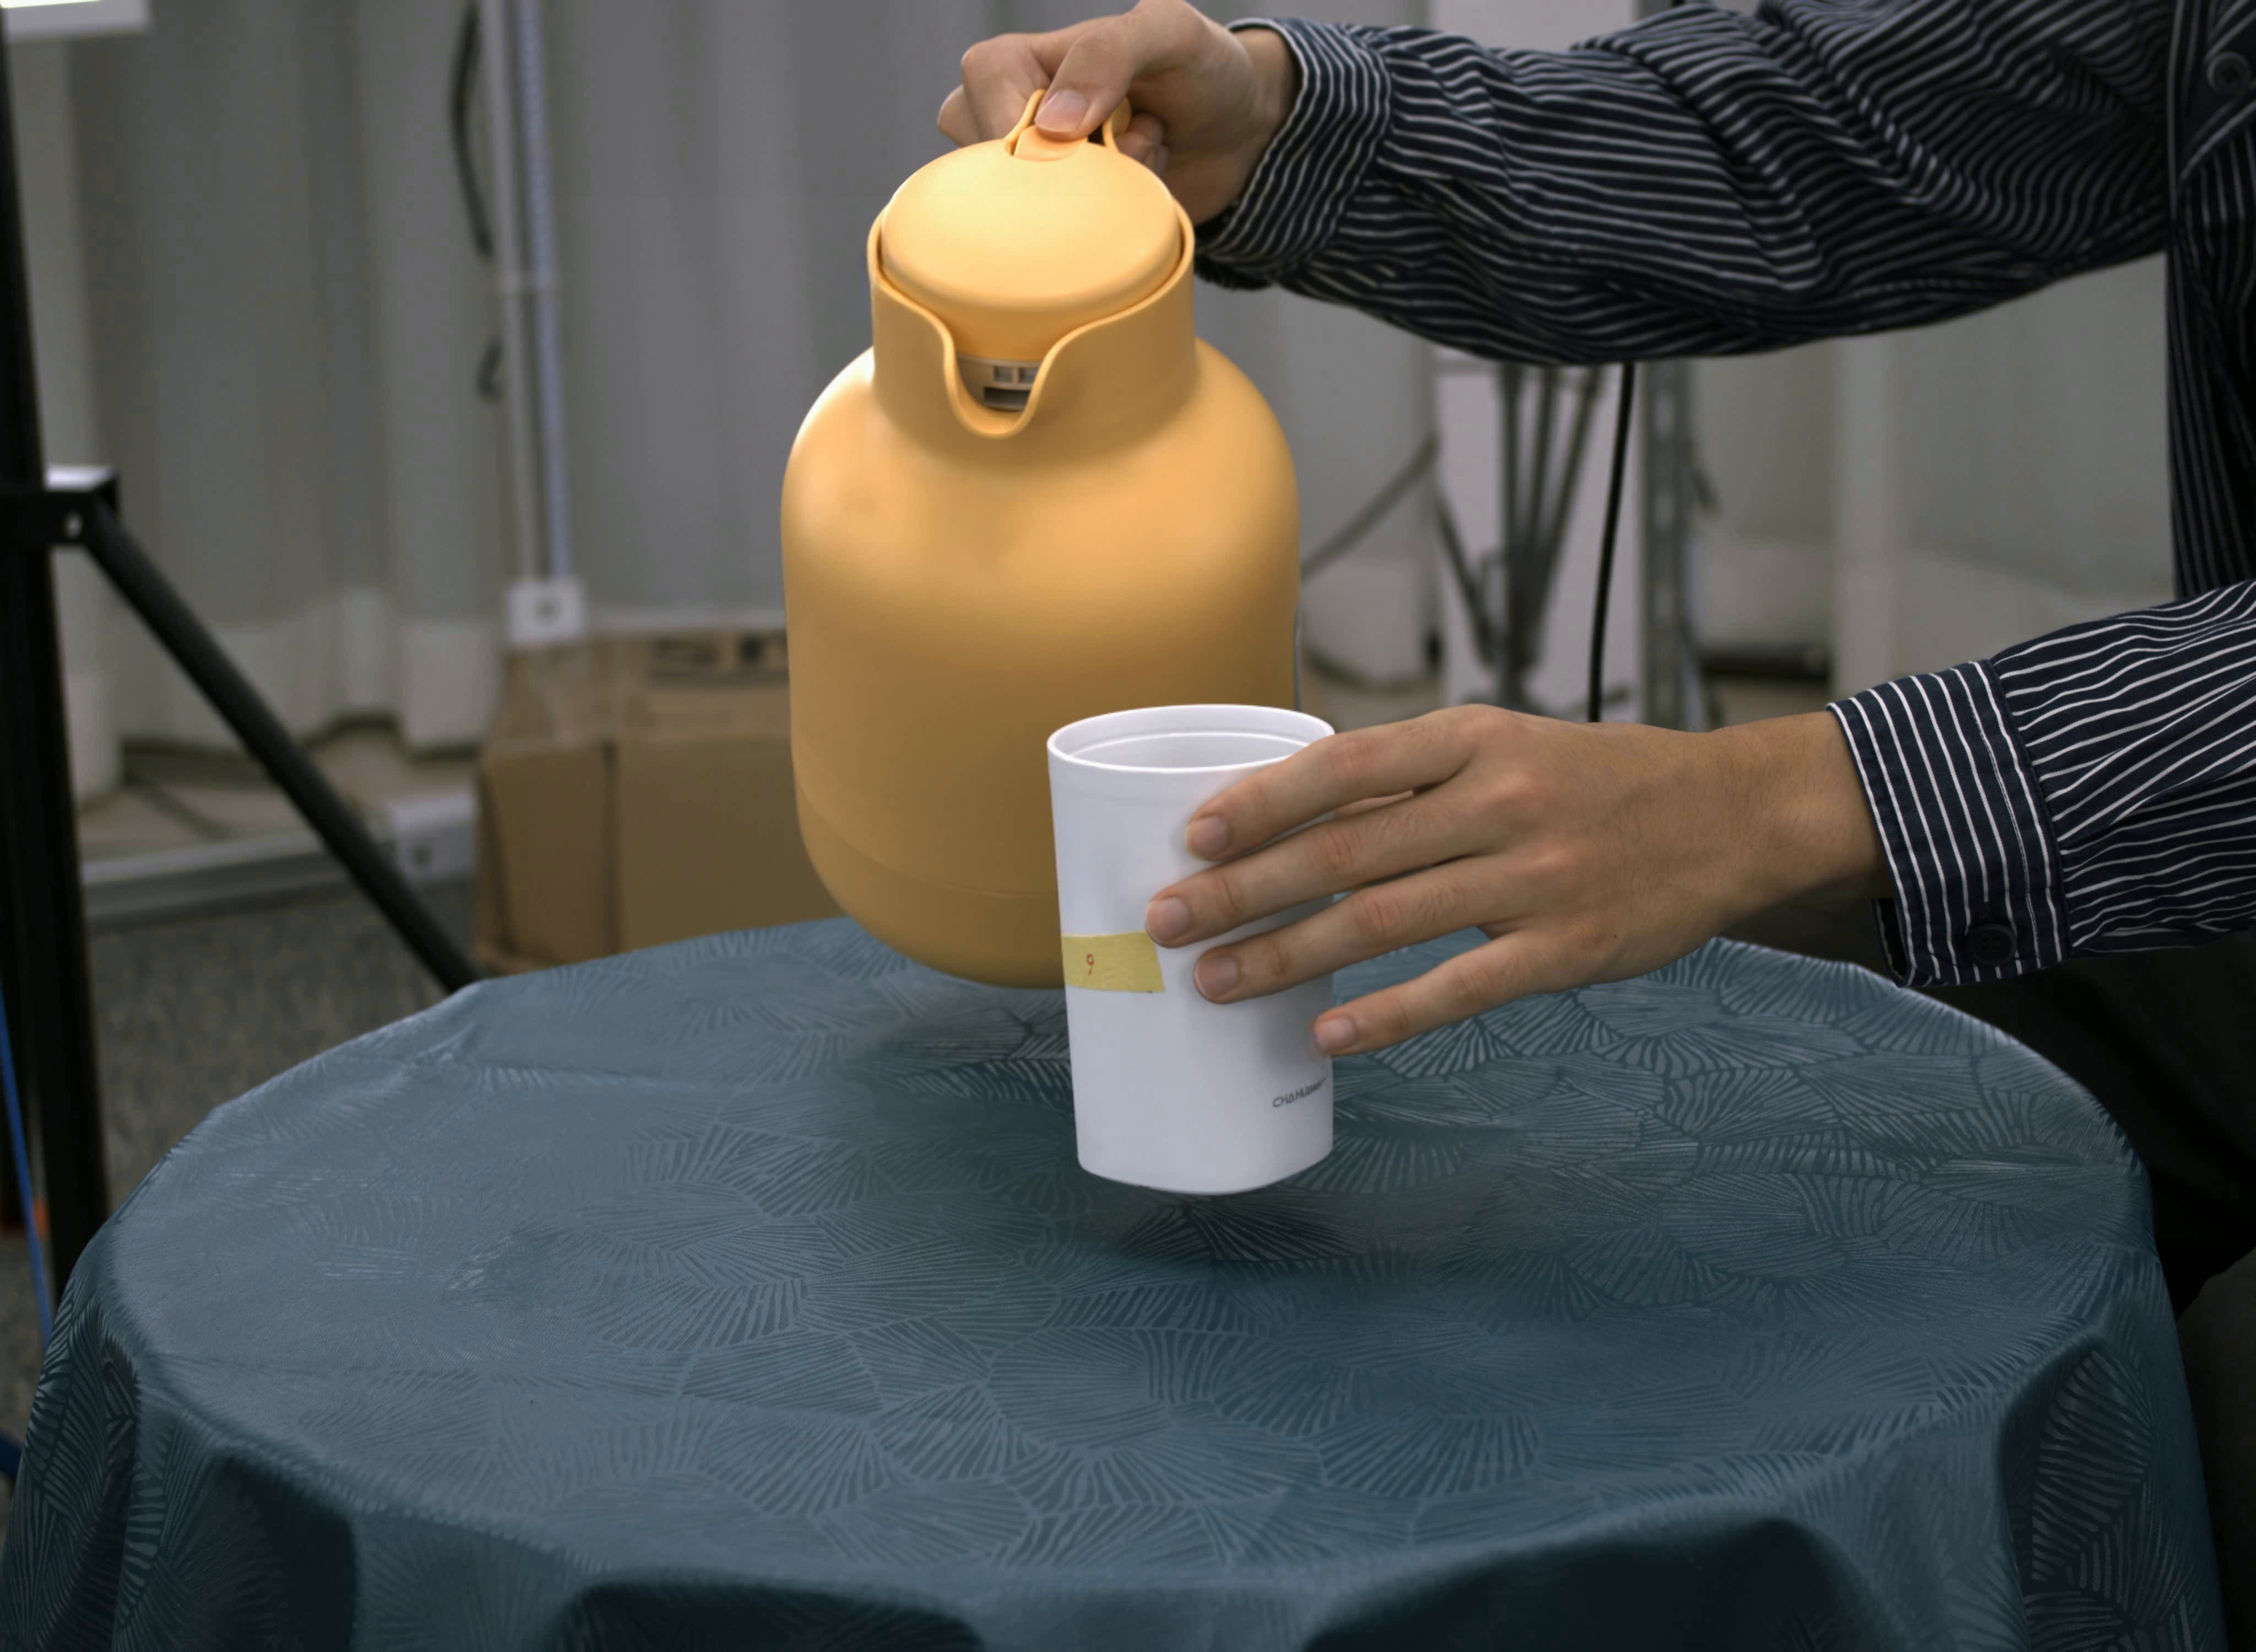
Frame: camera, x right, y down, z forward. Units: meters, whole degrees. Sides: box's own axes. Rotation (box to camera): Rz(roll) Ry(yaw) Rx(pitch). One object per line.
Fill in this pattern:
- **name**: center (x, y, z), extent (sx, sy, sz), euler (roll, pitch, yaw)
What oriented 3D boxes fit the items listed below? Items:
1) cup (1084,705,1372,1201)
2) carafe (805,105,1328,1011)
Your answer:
- **cup**: center (0.029, 0.036, 1.496), extent (0.081, 0.125, 0.082), euler (-1, 13, -1)
- **carafe**: center (-0.015, -0.091, 1.656), extent (0.163, 0.259, 0.203), euler (4, 40, 6)
